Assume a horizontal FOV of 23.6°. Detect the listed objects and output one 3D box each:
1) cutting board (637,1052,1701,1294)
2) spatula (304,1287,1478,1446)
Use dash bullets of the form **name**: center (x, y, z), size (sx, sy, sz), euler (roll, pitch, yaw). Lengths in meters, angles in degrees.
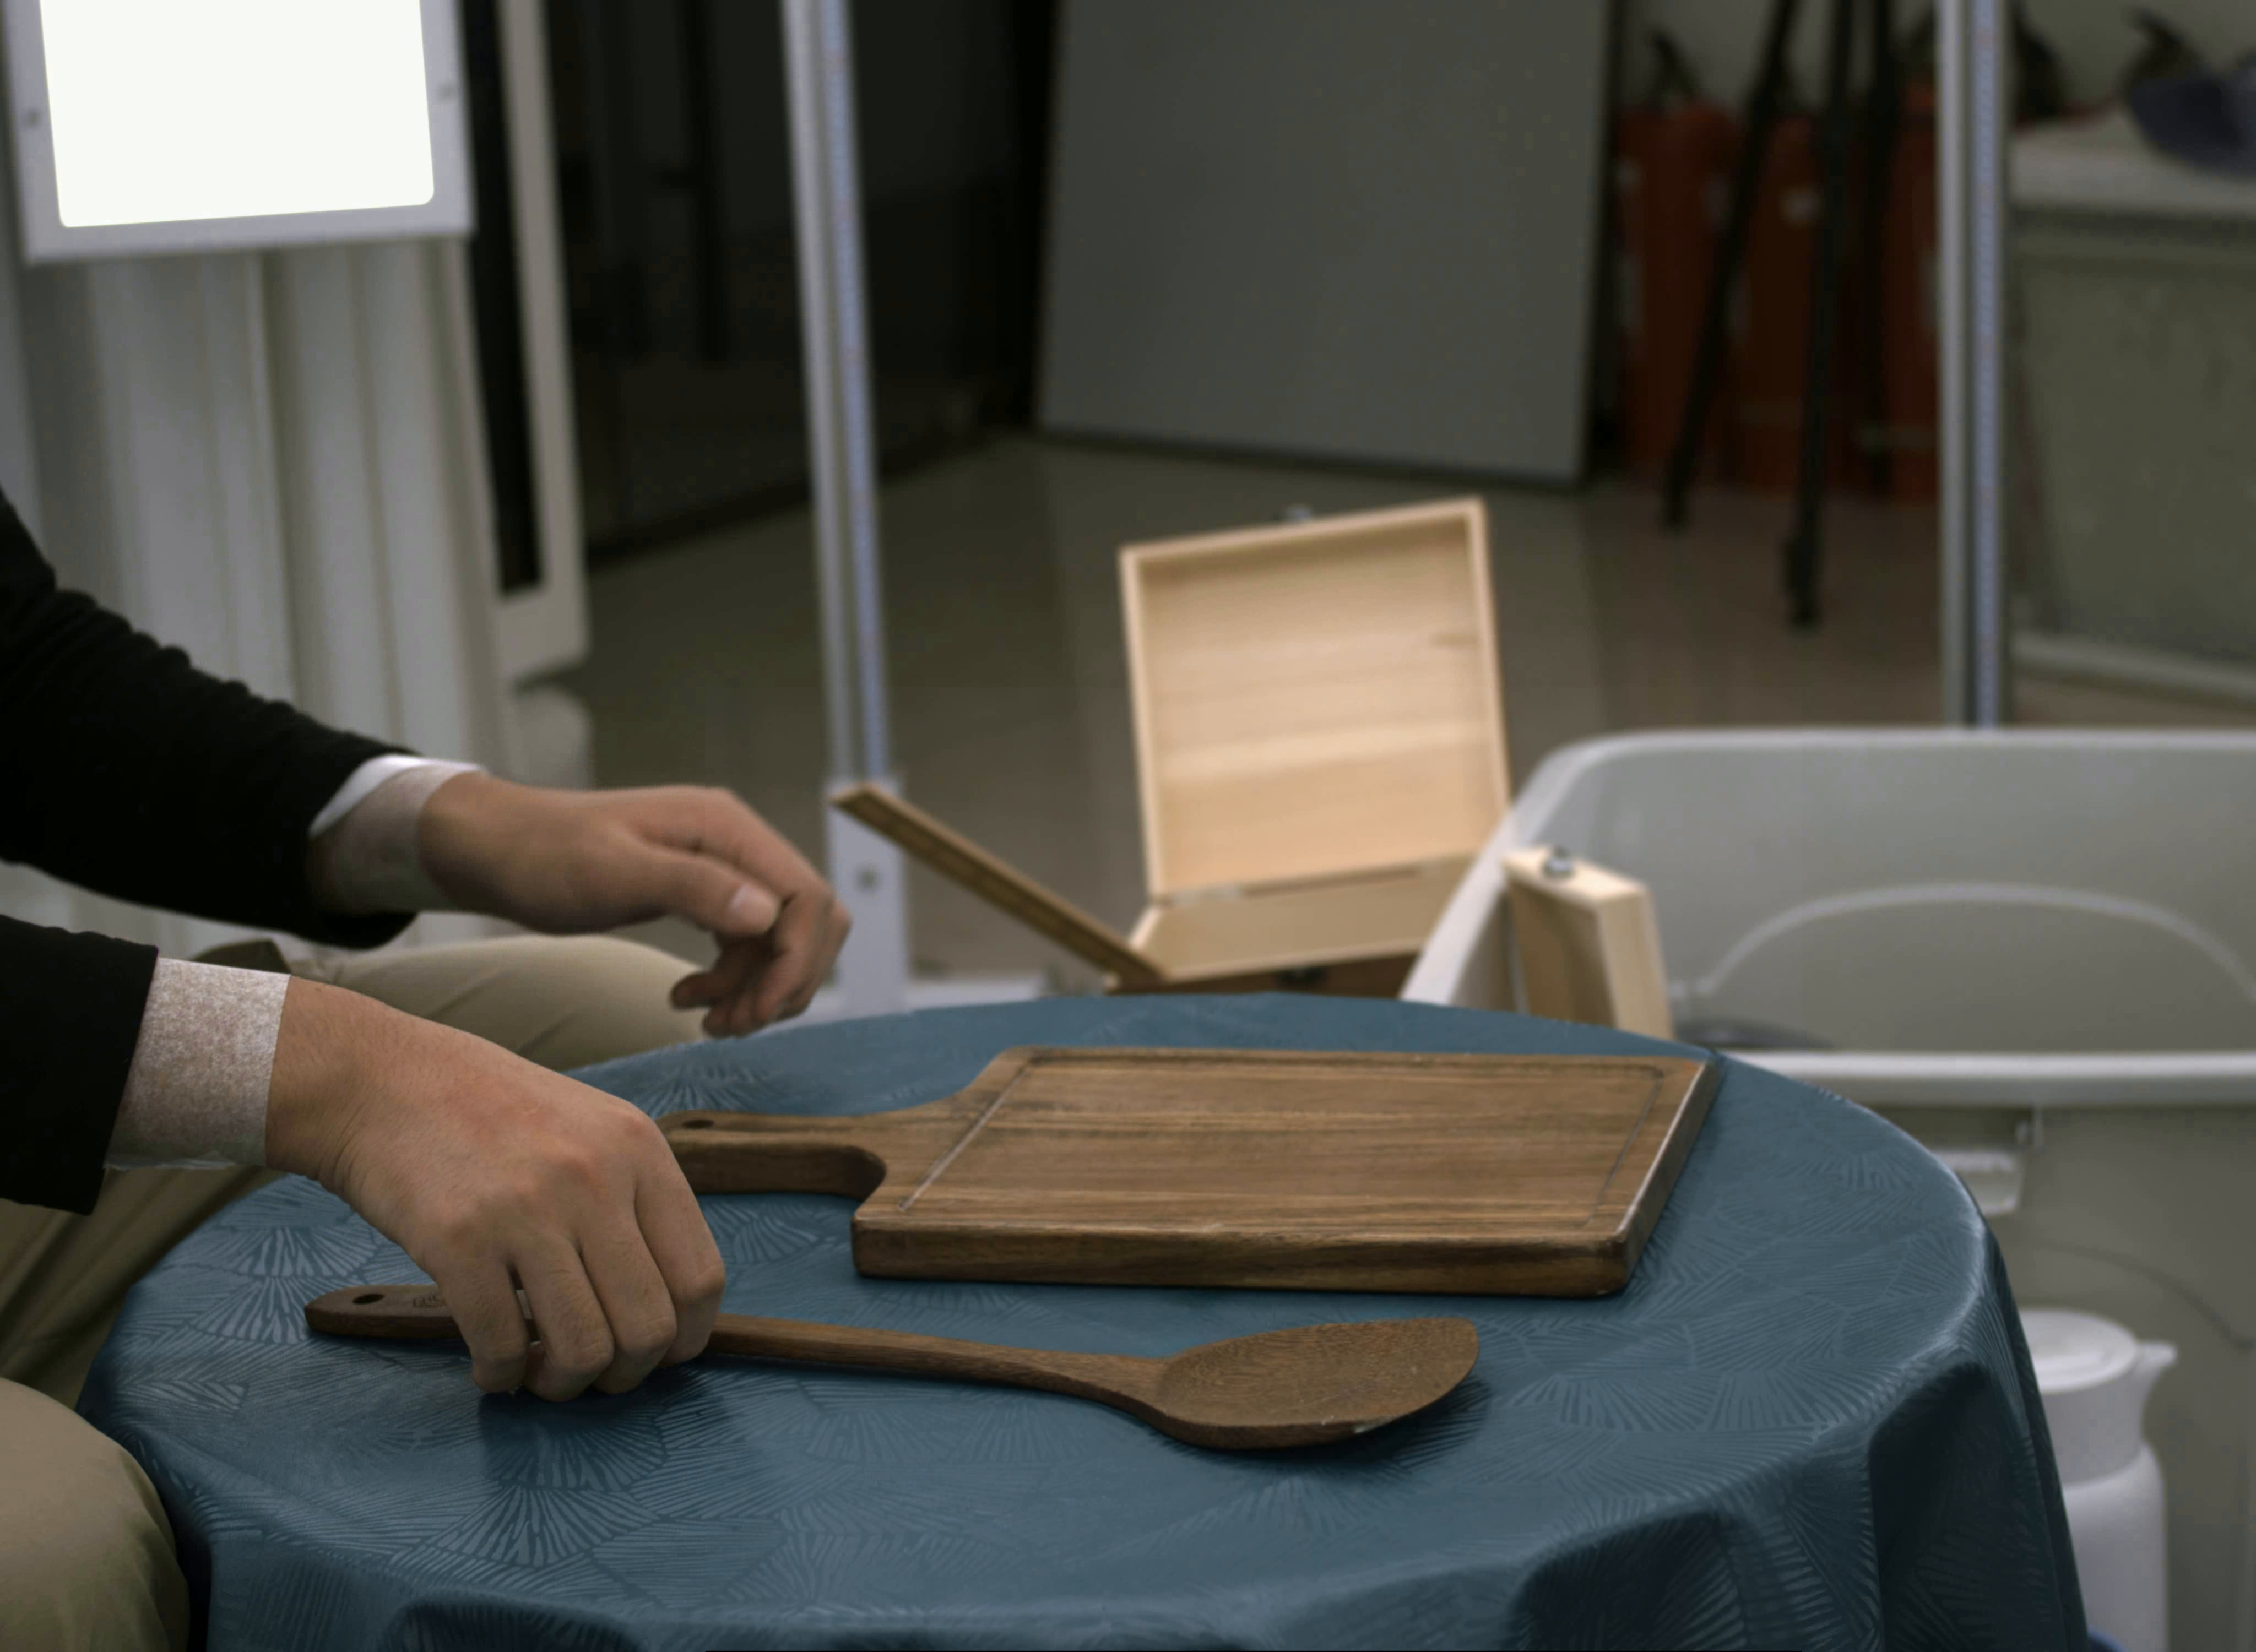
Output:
- **cutting board**: center (0.006, 0.110, 1.768), size (0.350, 0.023, 0.199), euler (0, 14, 15)
- **spatula**: center (-0.080, 0.157, 1.617), size (0.386, 0.016, 0.095), euler (2, 15, 24)
